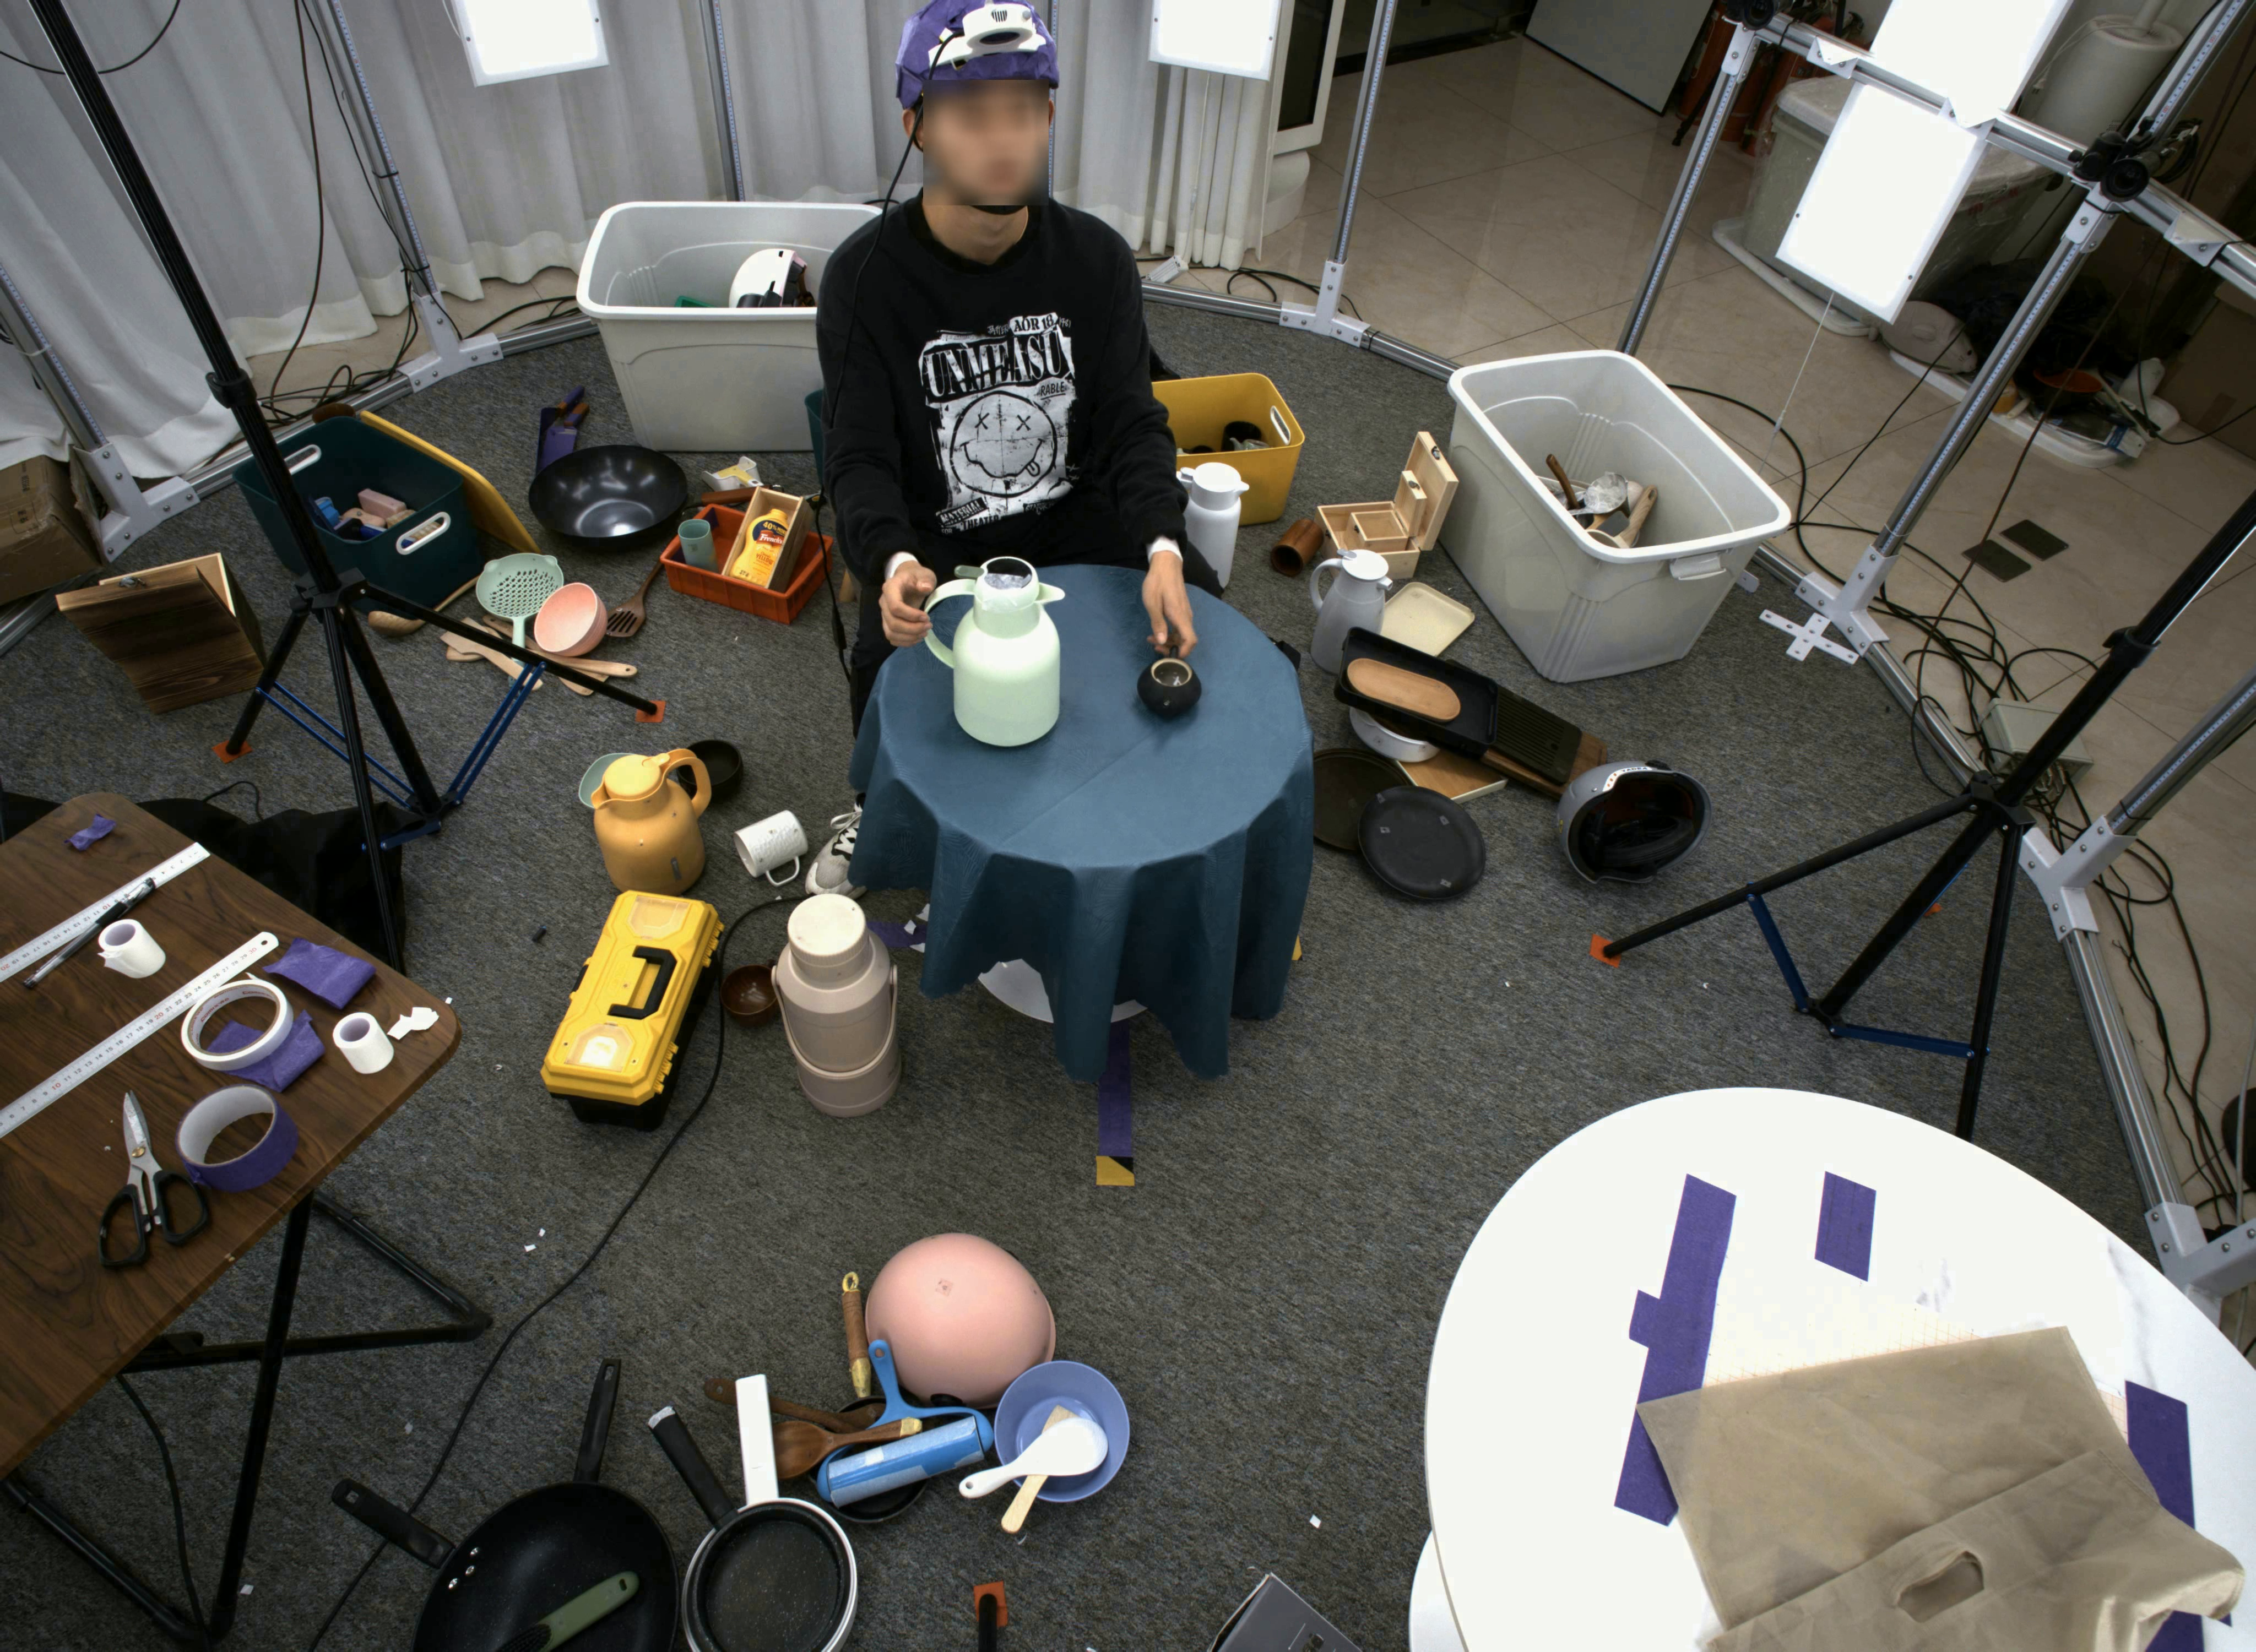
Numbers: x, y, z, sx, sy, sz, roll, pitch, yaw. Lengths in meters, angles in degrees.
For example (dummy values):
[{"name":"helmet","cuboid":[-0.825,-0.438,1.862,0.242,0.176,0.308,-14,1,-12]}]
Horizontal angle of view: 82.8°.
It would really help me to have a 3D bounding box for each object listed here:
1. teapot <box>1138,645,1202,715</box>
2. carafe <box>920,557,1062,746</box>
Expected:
[{"name":"teapot","cuboid":[0.060,-0.199,1.811,0.091,0.052,0.136,9,50,2]},{"name":"carafe","cuboid":[-0.175,-0.236,1.702,0.187,0.250,0.148,3,50,3]}]
